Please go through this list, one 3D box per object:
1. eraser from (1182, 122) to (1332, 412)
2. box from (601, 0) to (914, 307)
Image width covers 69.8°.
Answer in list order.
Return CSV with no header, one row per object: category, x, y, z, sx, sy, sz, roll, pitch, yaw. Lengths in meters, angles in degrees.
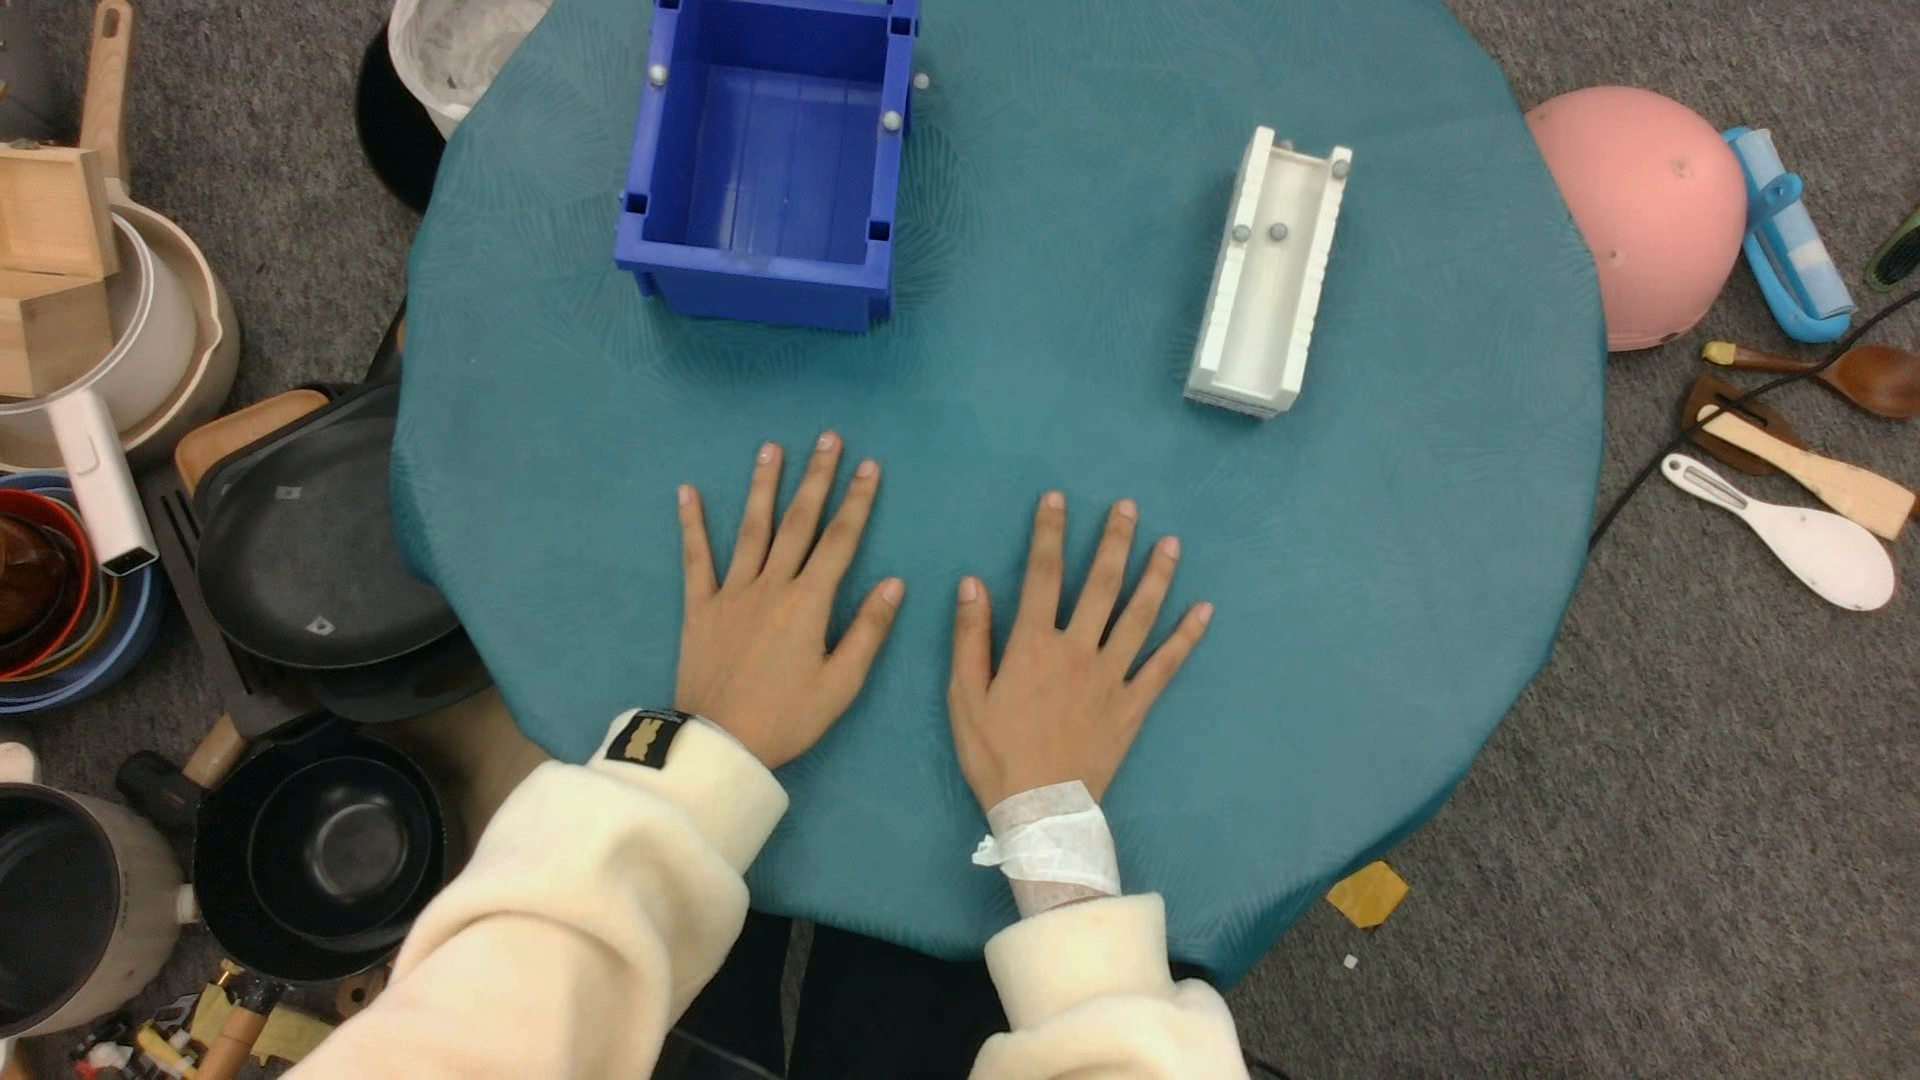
eraser,0.145,-0.134,0.681,0.050,0.046,0.134,14,72,-2
box,-0.094,-0.206,0.668,0.124,0.081,0.180,7,76,-2
